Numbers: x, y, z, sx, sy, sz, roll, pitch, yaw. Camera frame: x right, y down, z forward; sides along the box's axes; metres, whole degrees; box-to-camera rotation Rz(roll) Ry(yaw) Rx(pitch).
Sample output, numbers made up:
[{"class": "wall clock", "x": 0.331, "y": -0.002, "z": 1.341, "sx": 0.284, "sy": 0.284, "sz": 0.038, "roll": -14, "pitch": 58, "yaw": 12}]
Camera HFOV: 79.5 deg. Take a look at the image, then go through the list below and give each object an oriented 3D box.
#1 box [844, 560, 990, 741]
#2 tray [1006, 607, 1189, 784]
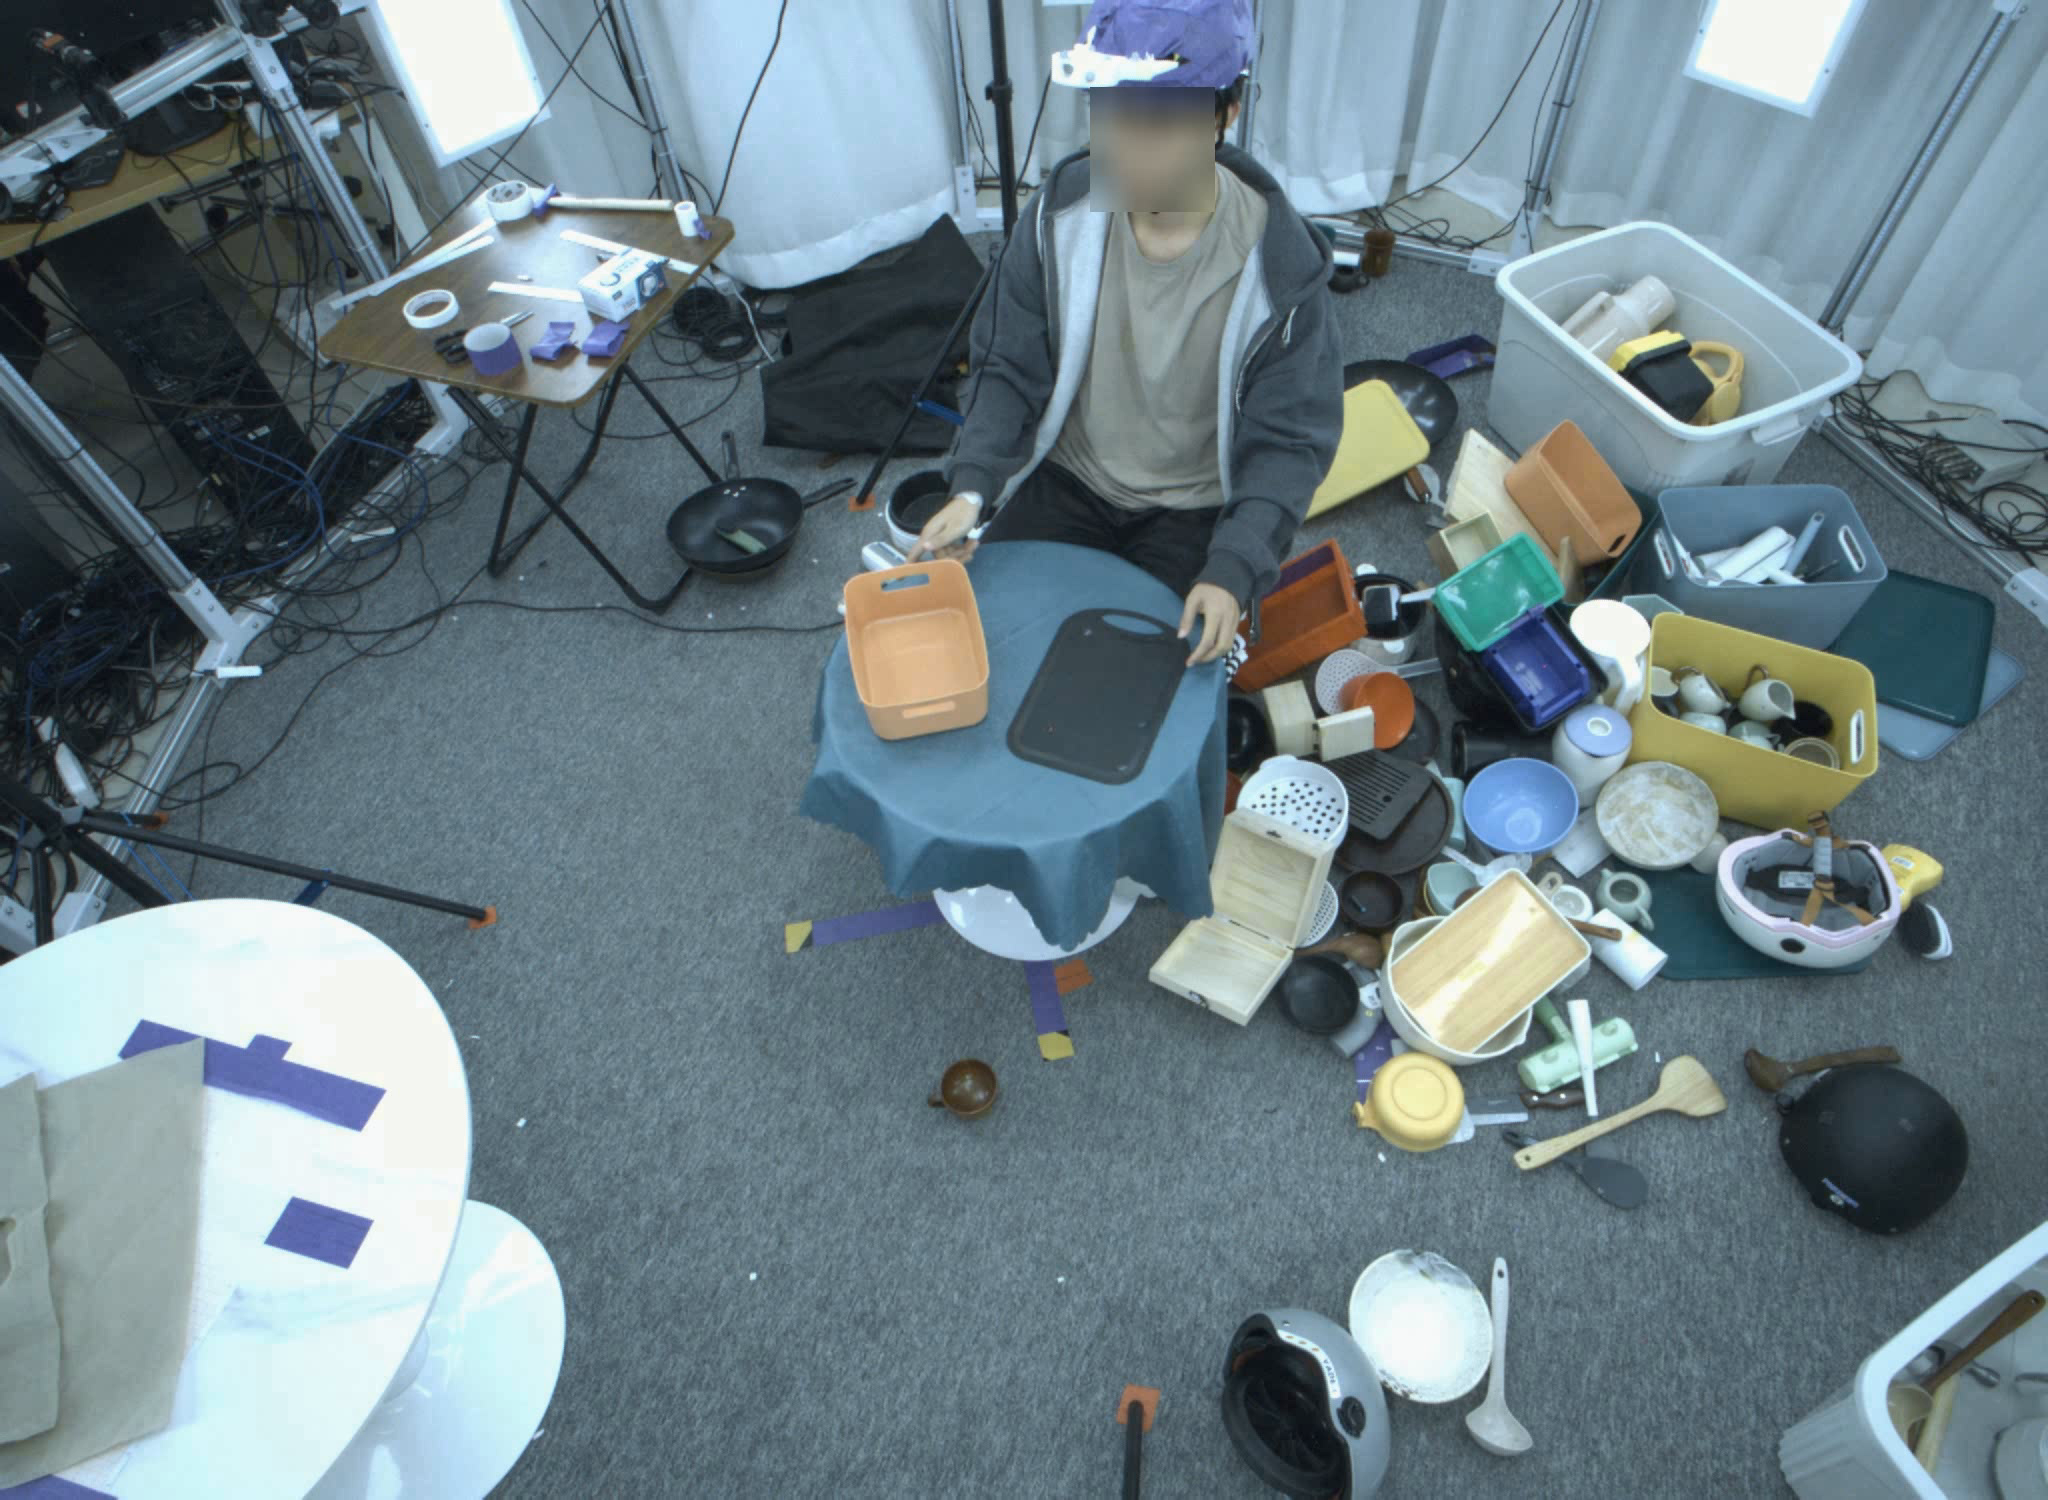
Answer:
[{"class": "box", "x": -0.157, "y": -0.147, "z": 1.835, "sx": 0.200, "sy": 0.104, "sz": 0.269, "roll": -11, "pitch": 55, "yaw": -5}, {"class": "tray", "x": 0.116, "y": -0.095, "z": 1.850, "sx": 0.209, "sy": 0.010, "sz": 0.325, "roll": 17, "pitch": 57, "yaw": 13}]
